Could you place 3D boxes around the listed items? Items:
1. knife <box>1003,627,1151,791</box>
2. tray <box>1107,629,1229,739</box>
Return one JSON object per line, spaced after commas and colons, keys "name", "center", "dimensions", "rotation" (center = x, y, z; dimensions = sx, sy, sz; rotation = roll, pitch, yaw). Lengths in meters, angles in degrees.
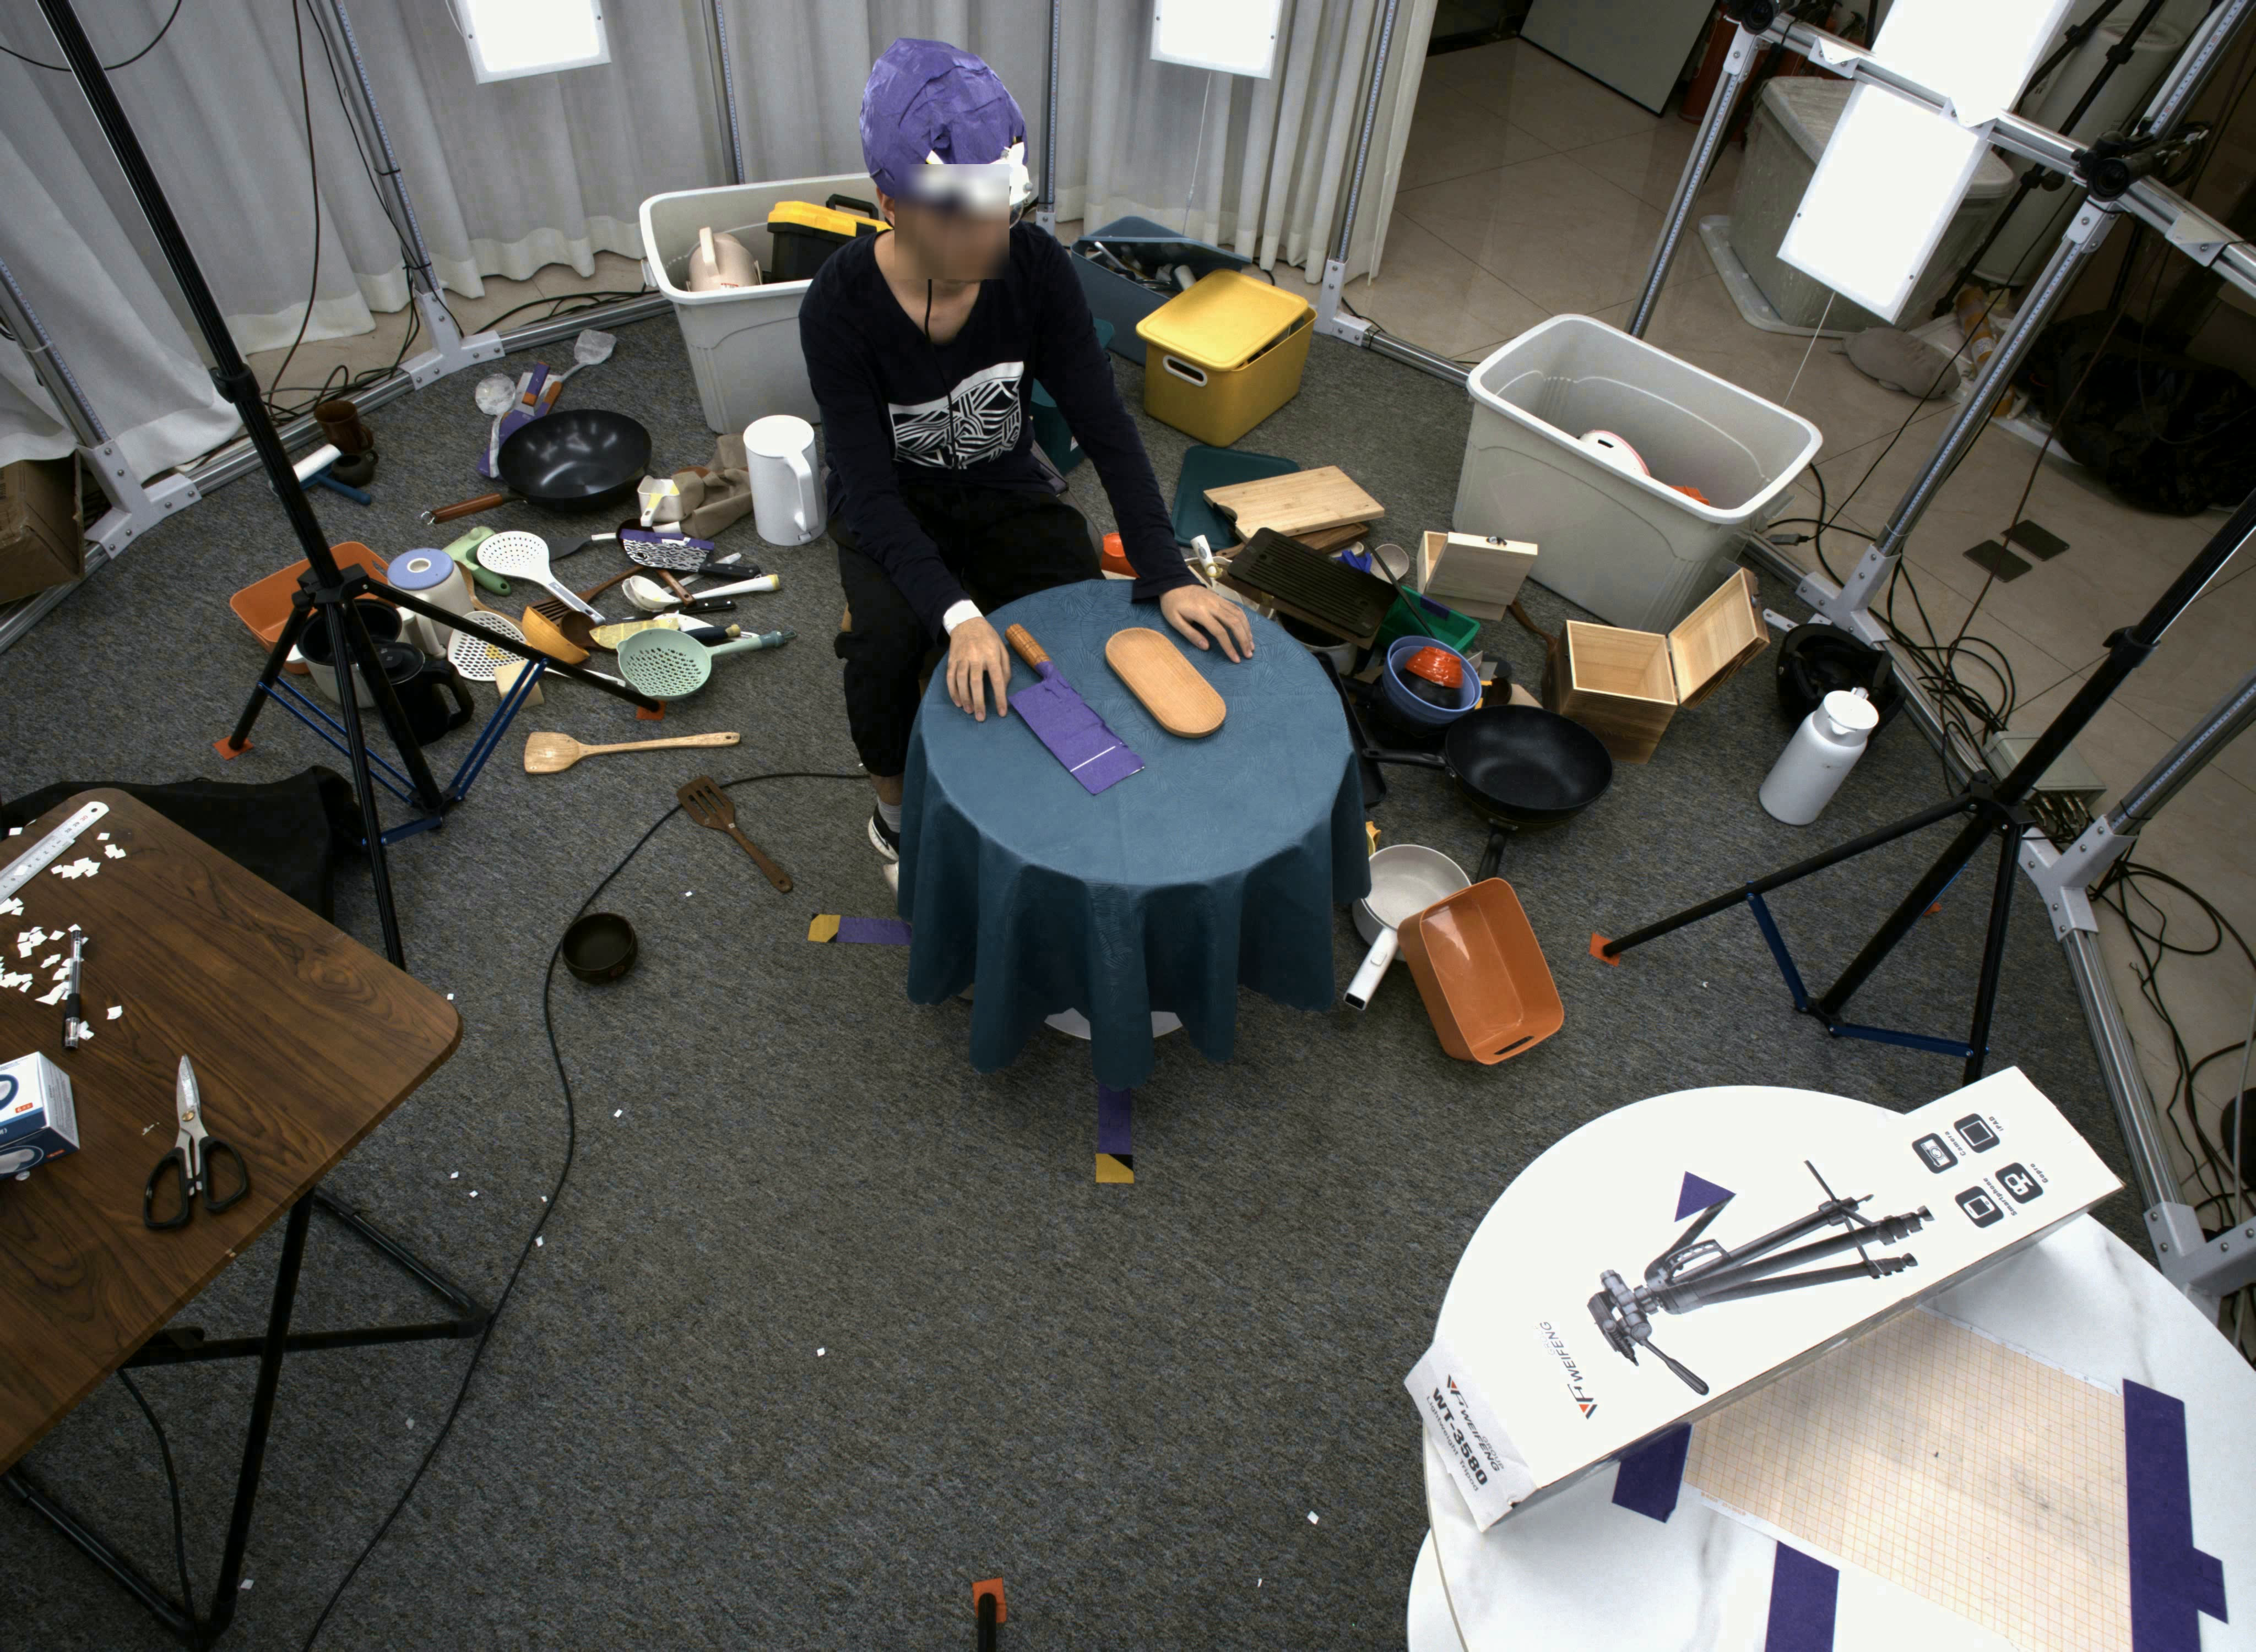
{"name": "knife", "center": [-0.100, -0.167, 1.788], "dimensions": [0.104, 0.031, 0.321], "rotation": [-28, 57, -25]}
{"name": "tray", "center": [0.055, -0.205, 1.838], "dimensions": [0.102, 0.020, 0.236], "rotation": [-25, 56, -22]}
